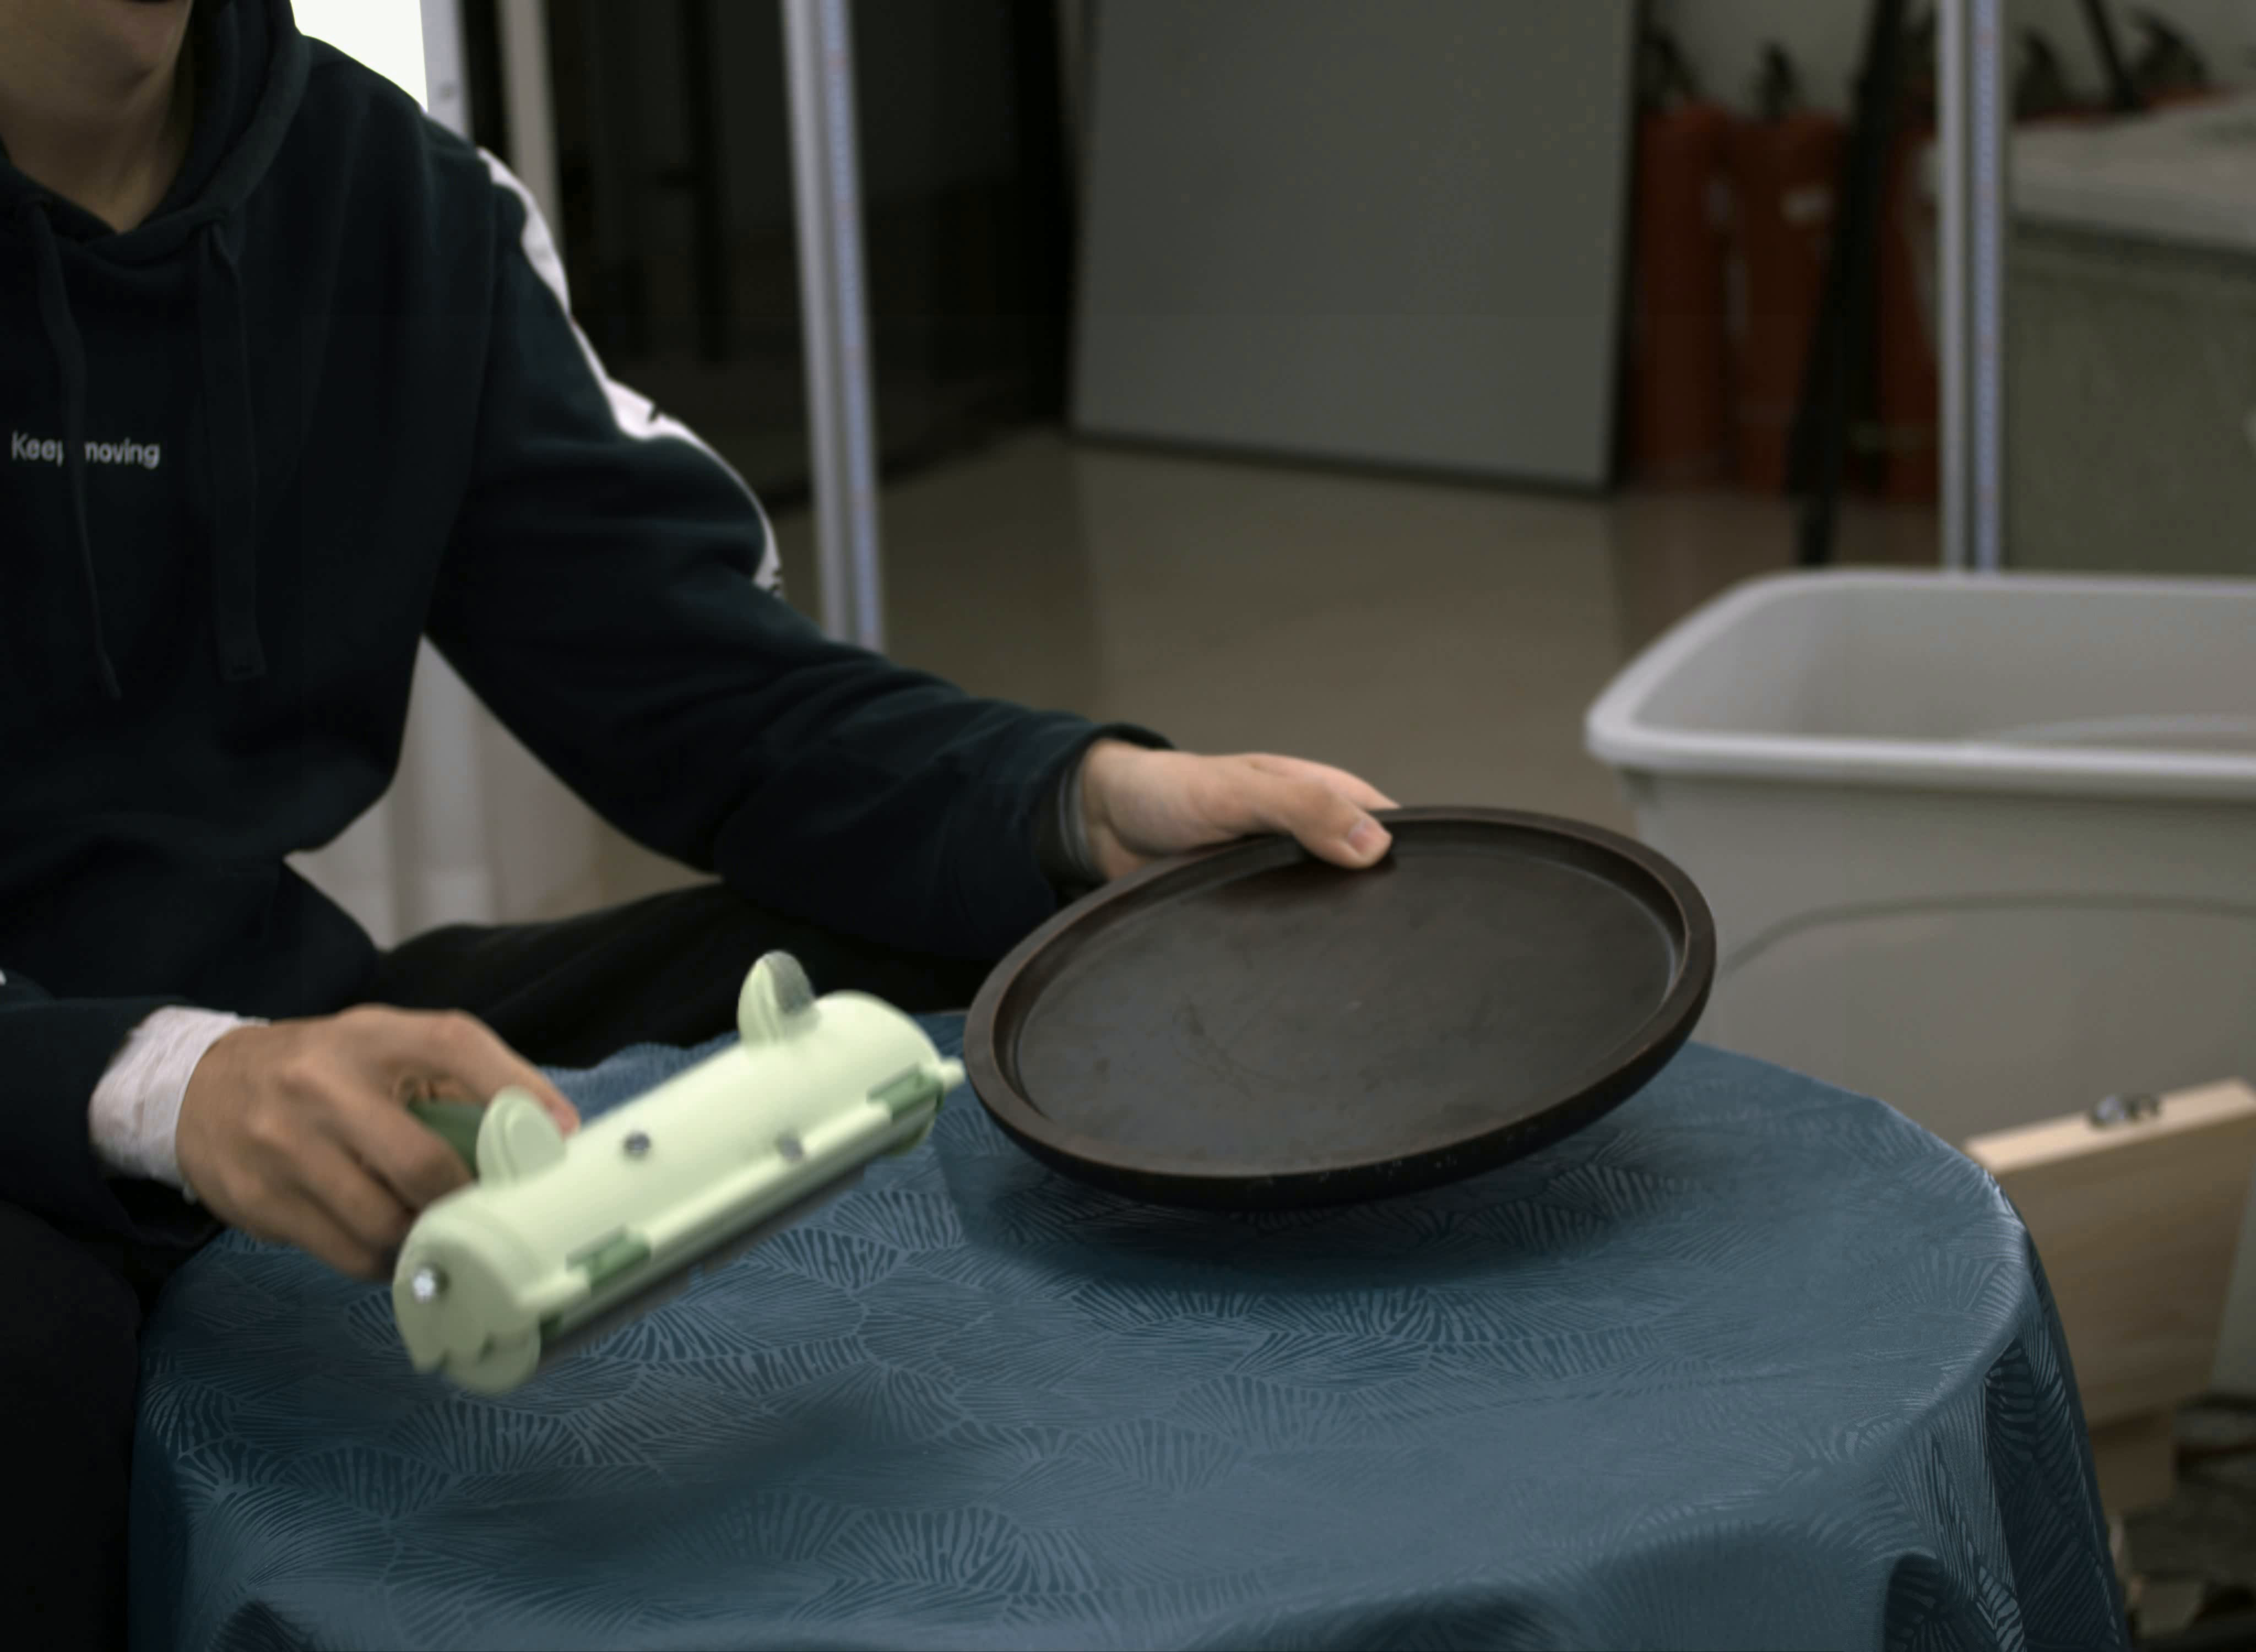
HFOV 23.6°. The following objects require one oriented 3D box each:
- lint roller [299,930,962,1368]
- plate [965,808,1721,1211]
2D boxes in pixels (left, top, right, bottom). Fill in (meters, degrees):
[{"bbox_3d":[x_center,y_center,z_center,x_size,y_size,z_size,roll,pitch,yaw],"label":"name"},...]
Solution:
[{"bbox_3d":[-0.173,0.078,1.568,0.184,0.083,0.195,13,25,34],"label":"lint roller"},{"bbox_3d":[0.070,0.058,1.769,0.252,0.029,0.256,-11,25,4],"label":"plate"}]
